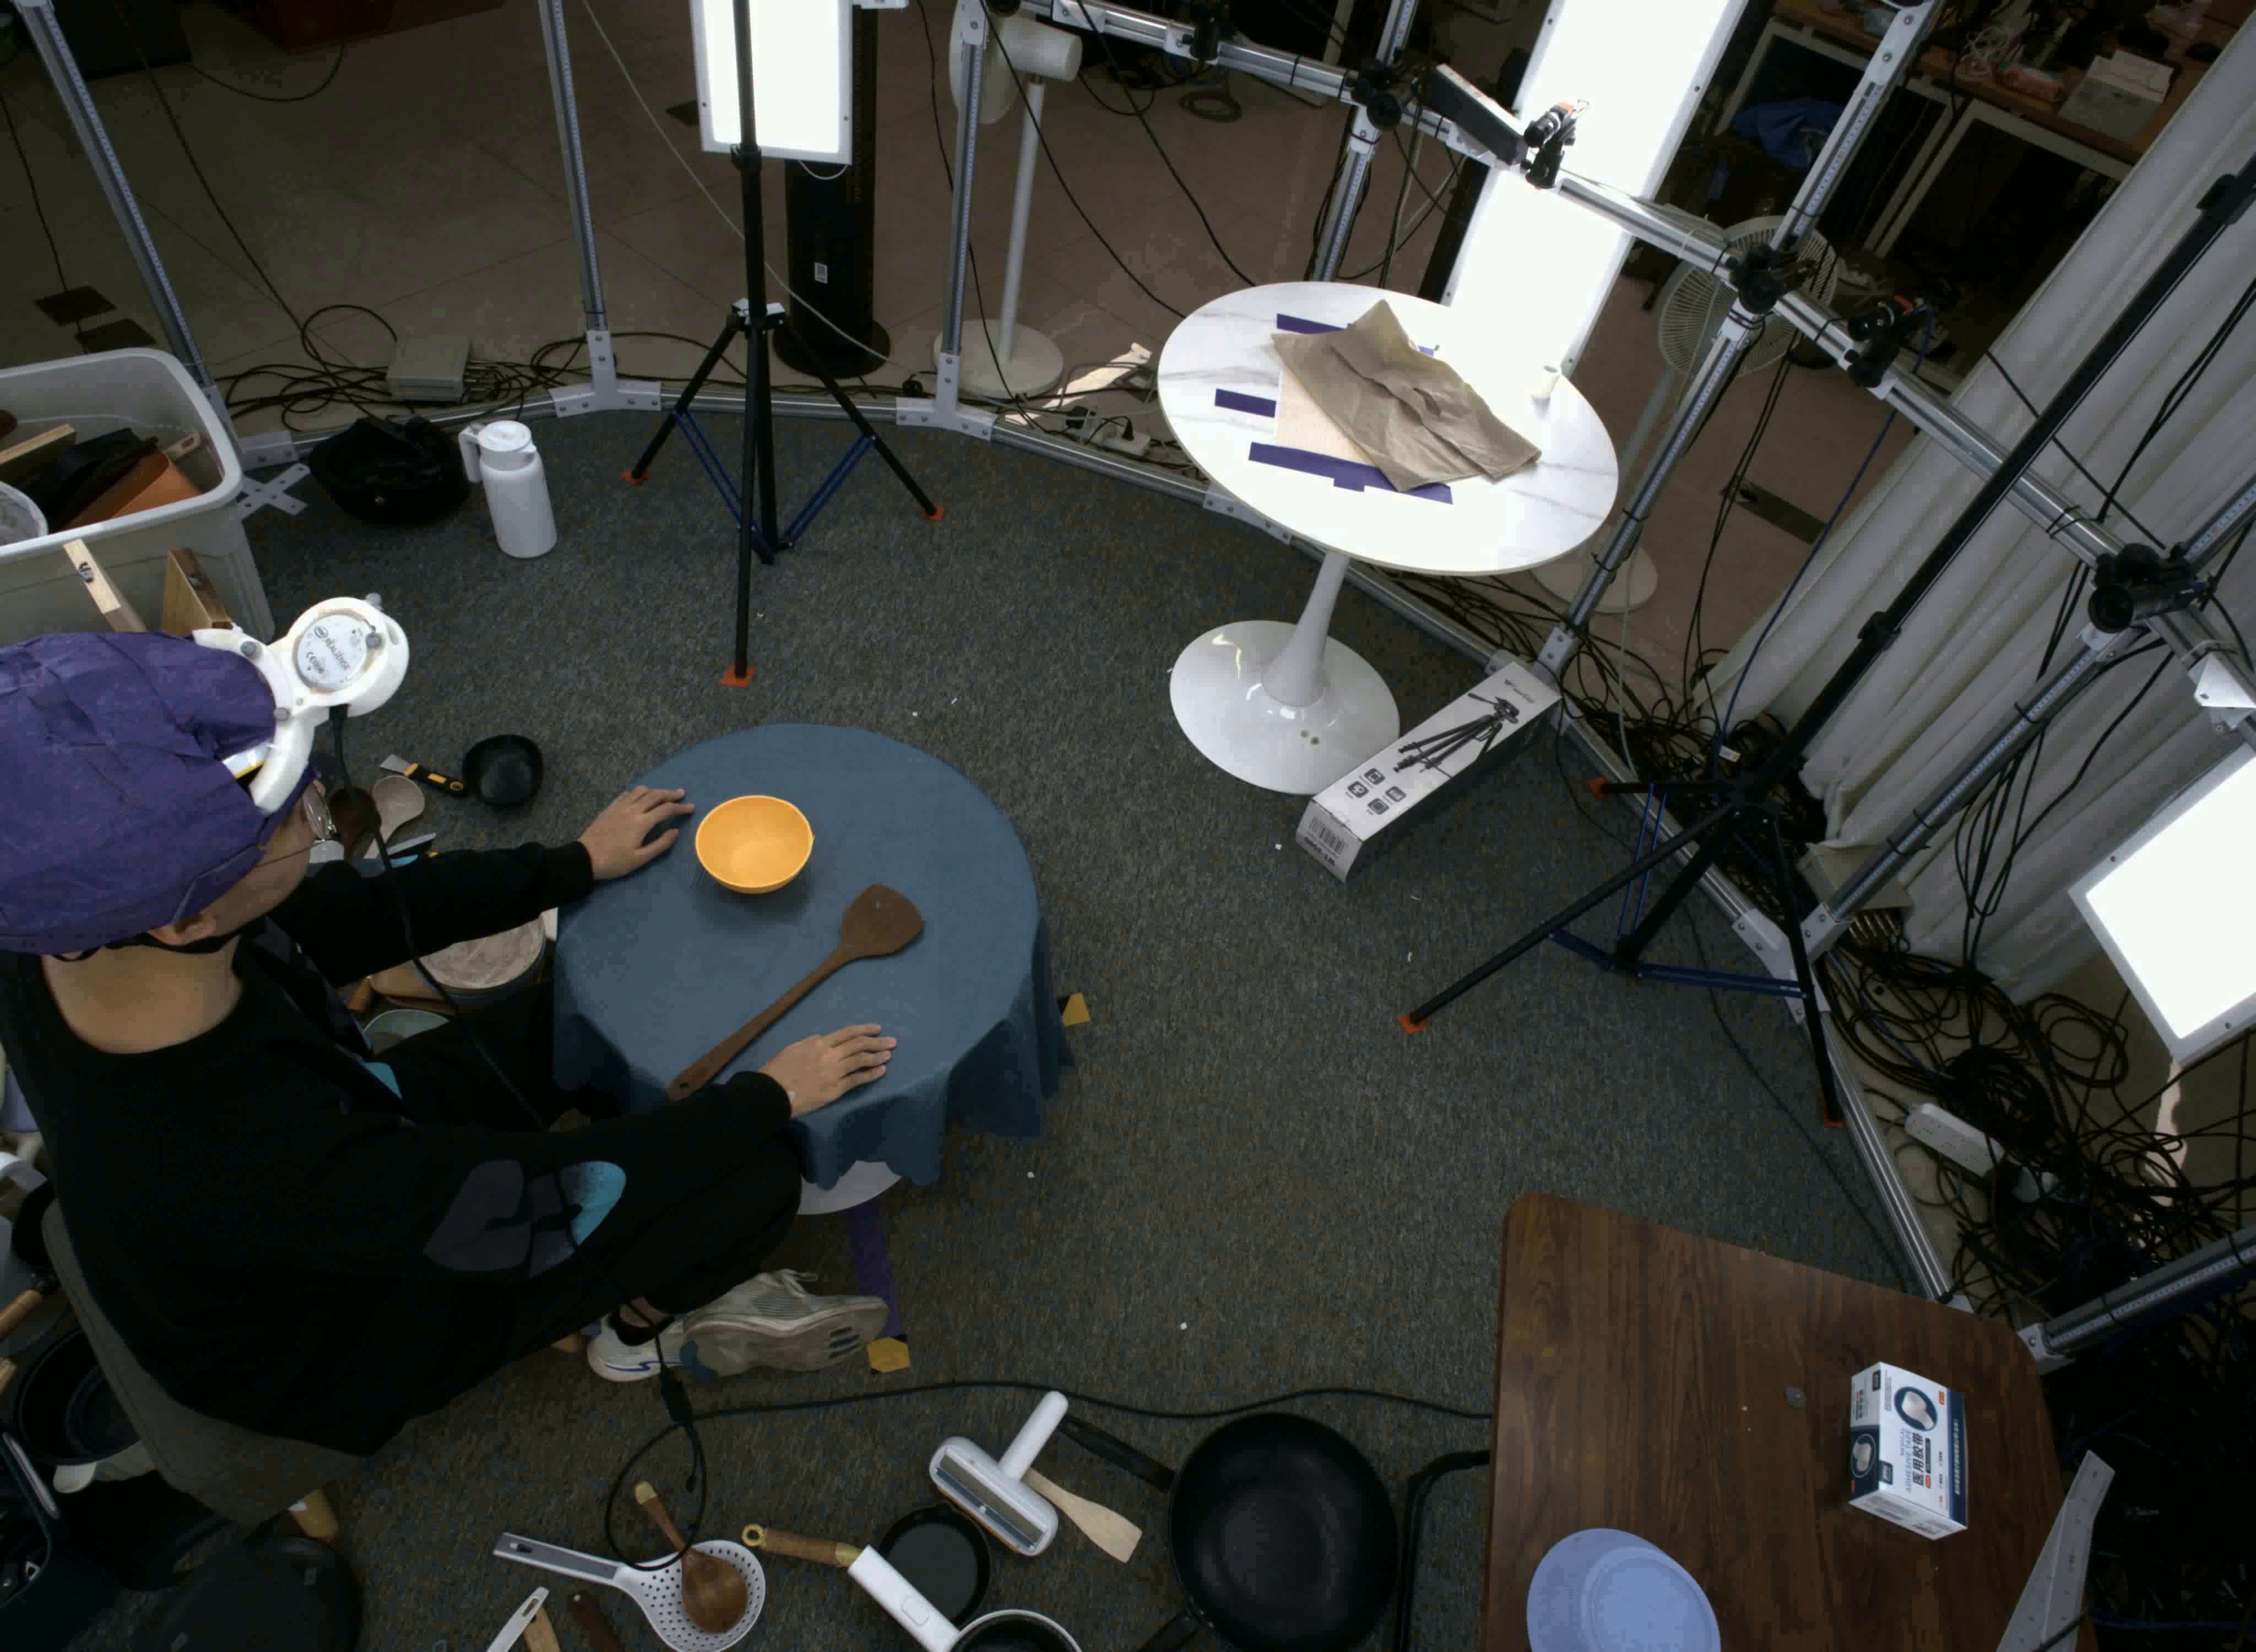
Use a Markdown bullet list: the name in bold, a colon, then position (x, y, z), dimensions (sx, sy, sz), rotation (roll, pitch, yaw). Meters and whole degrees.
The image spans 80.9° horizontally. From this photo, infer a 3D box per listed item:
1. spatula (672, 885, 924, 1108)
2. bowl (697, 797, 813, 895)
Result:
- **spatula**: position (-0.403, 0.204, 1.574), dimensions (0.094, 0.016, 0.386), rotation (37, 54, 14)
- **bowl**: position (-0.473, 0.036, 1.654), dimensions (0.144, 0.061, 0.143), rotation (6, 52, -6)
